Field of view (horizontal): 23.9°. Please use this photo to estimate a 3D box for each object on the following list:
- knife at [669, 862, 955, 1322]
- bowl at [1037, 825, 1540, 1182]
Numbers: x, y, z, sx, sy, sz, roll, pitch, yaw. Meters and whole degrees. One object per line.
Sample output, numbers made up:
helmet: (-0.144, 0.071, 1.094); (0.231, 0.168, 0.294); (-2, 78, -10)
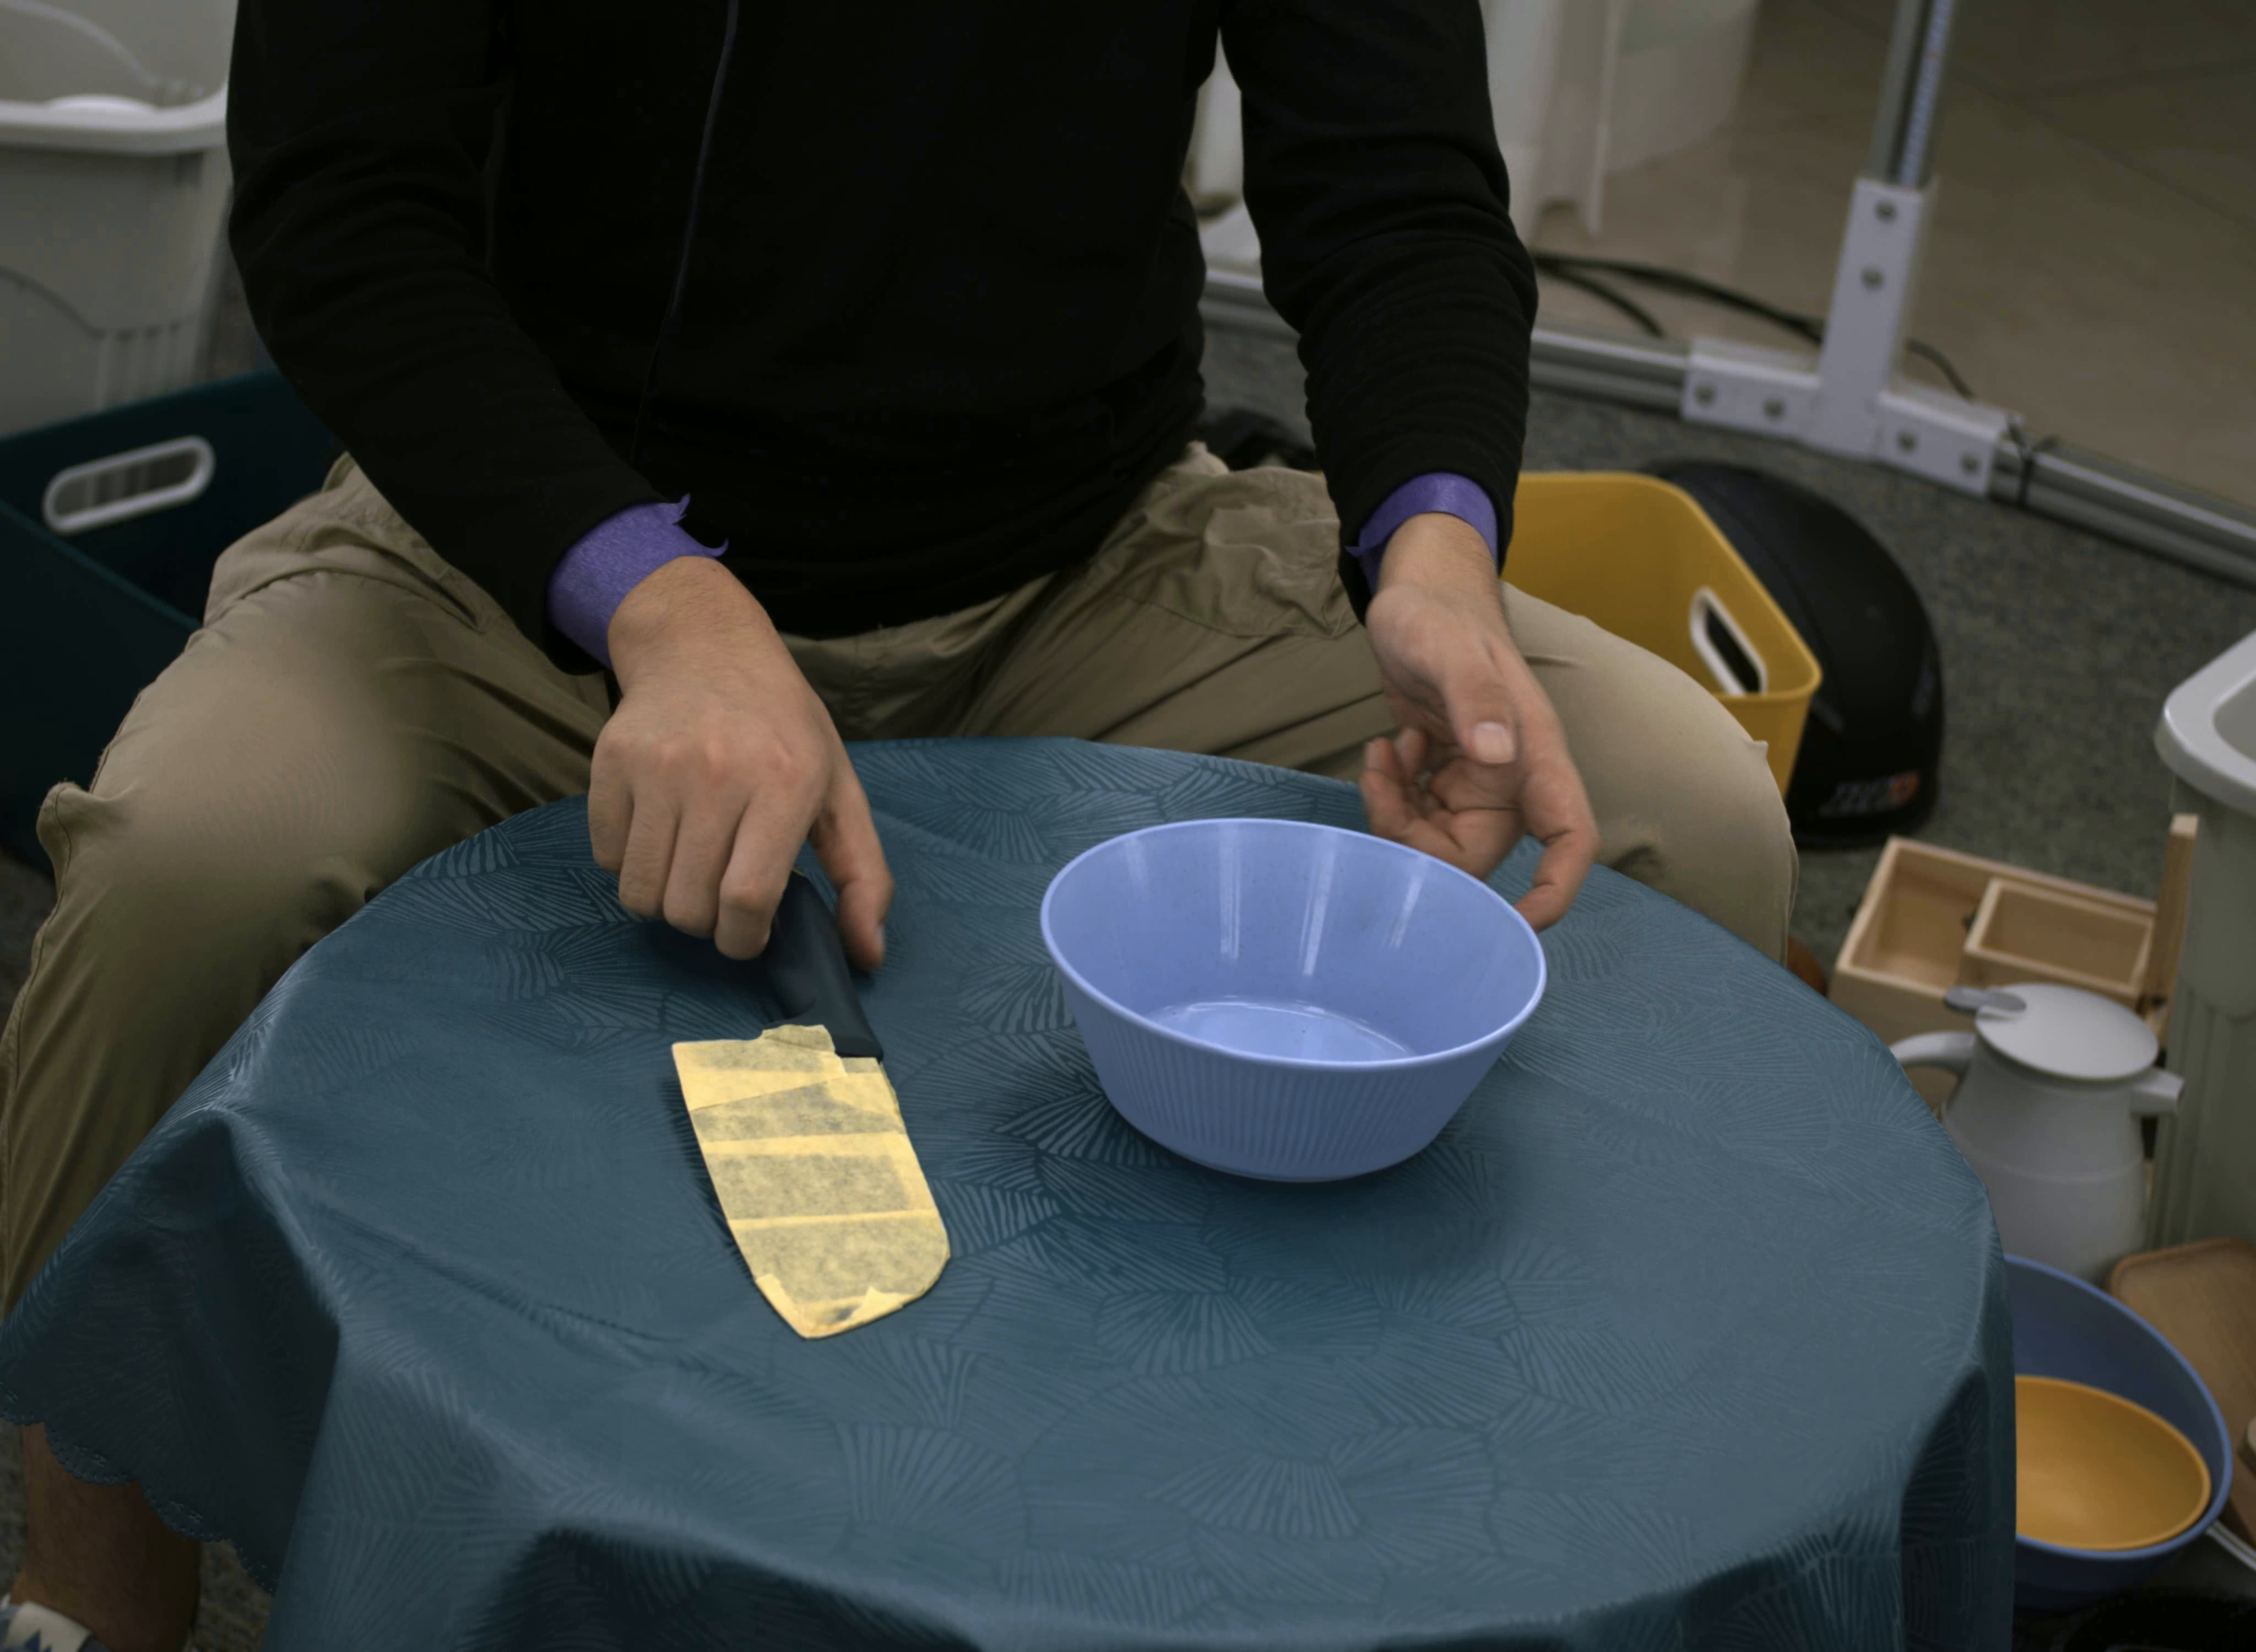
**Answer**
knife: (-0.116, 0.089, 1.831); (0.080, 0.027, 0.292); (2, 28, -14)
bowl: (0.052, 0.067, 1.852); (0.175, 0.070, 0.177); (4, 27, -3)
